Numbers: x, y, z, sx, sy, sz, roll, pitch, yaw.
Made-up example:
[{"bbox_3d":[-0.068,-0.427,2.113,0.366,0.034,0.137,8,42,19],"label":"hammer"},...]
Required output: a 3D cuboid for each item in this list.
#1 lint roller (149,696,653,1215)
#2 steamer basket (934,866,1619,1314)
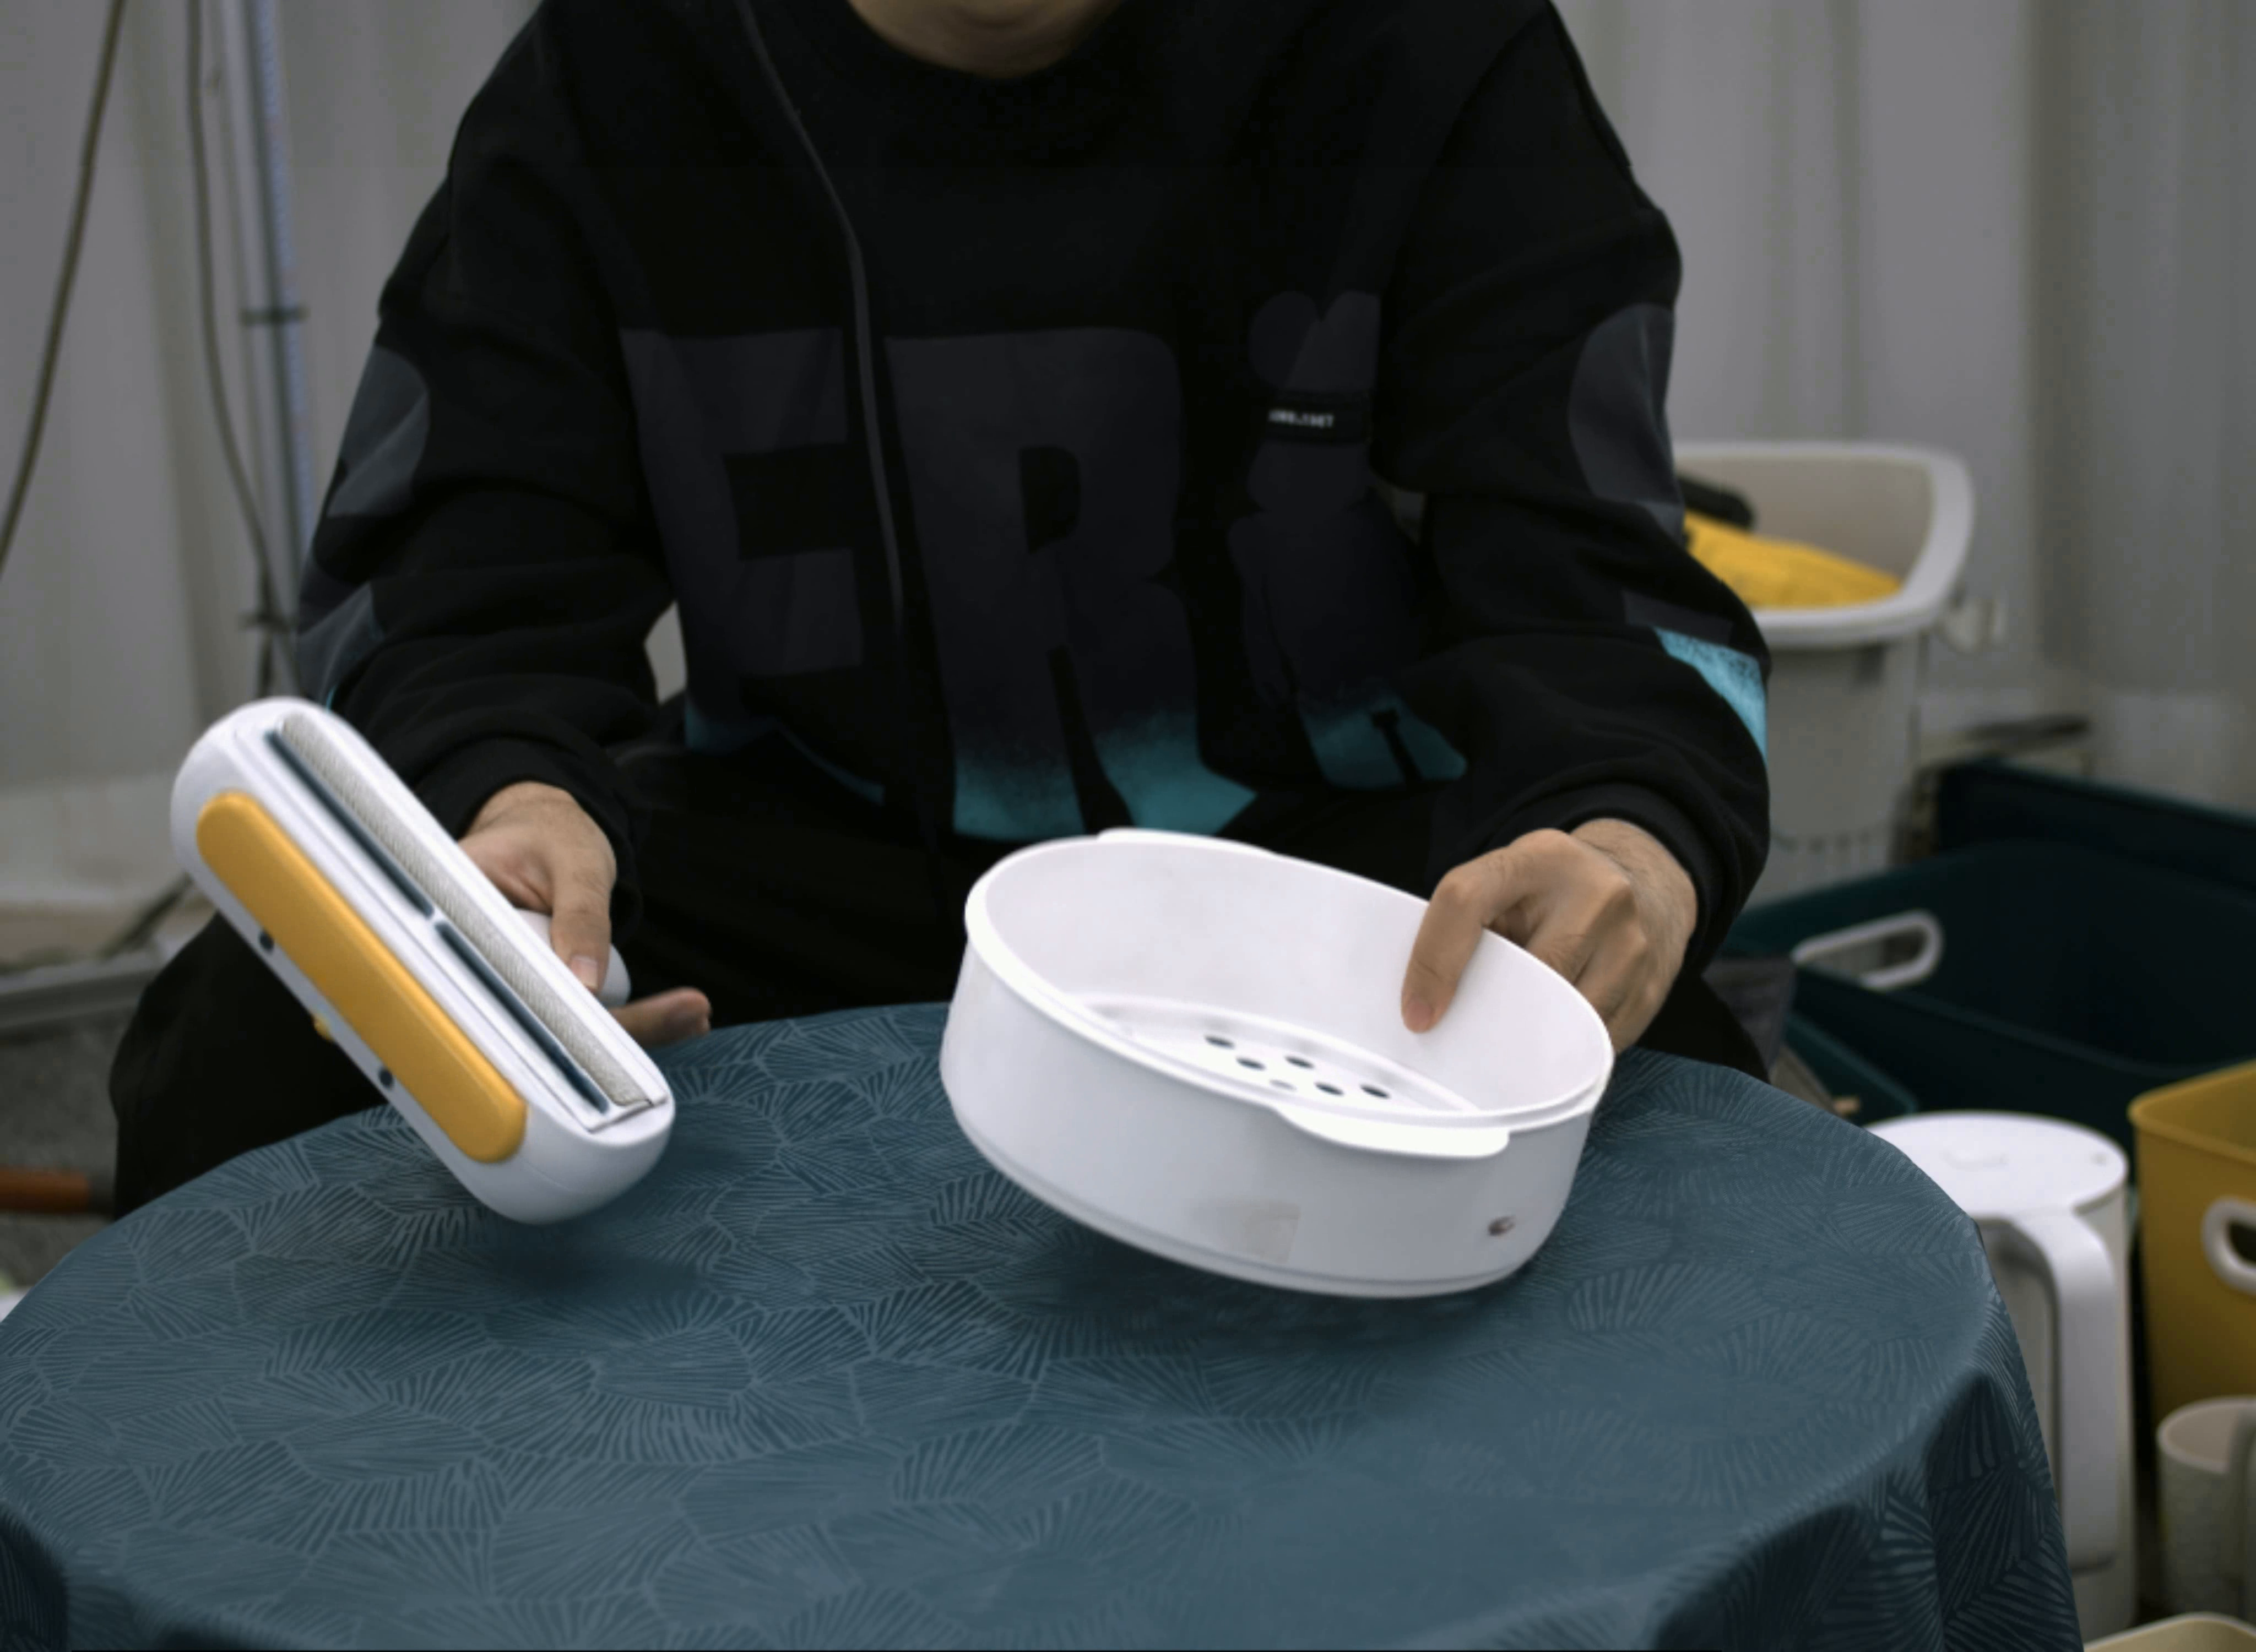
[{"bbox_3d":[-0.201,0.042,1.728,0.194,0.074,0.192,43,19,18],"label":"lint roller"},{"bbox_3d":[0.042,0.079,1.634,0.200,0.069,0.233,8,17,-20],"label":"steamer basket"}]
